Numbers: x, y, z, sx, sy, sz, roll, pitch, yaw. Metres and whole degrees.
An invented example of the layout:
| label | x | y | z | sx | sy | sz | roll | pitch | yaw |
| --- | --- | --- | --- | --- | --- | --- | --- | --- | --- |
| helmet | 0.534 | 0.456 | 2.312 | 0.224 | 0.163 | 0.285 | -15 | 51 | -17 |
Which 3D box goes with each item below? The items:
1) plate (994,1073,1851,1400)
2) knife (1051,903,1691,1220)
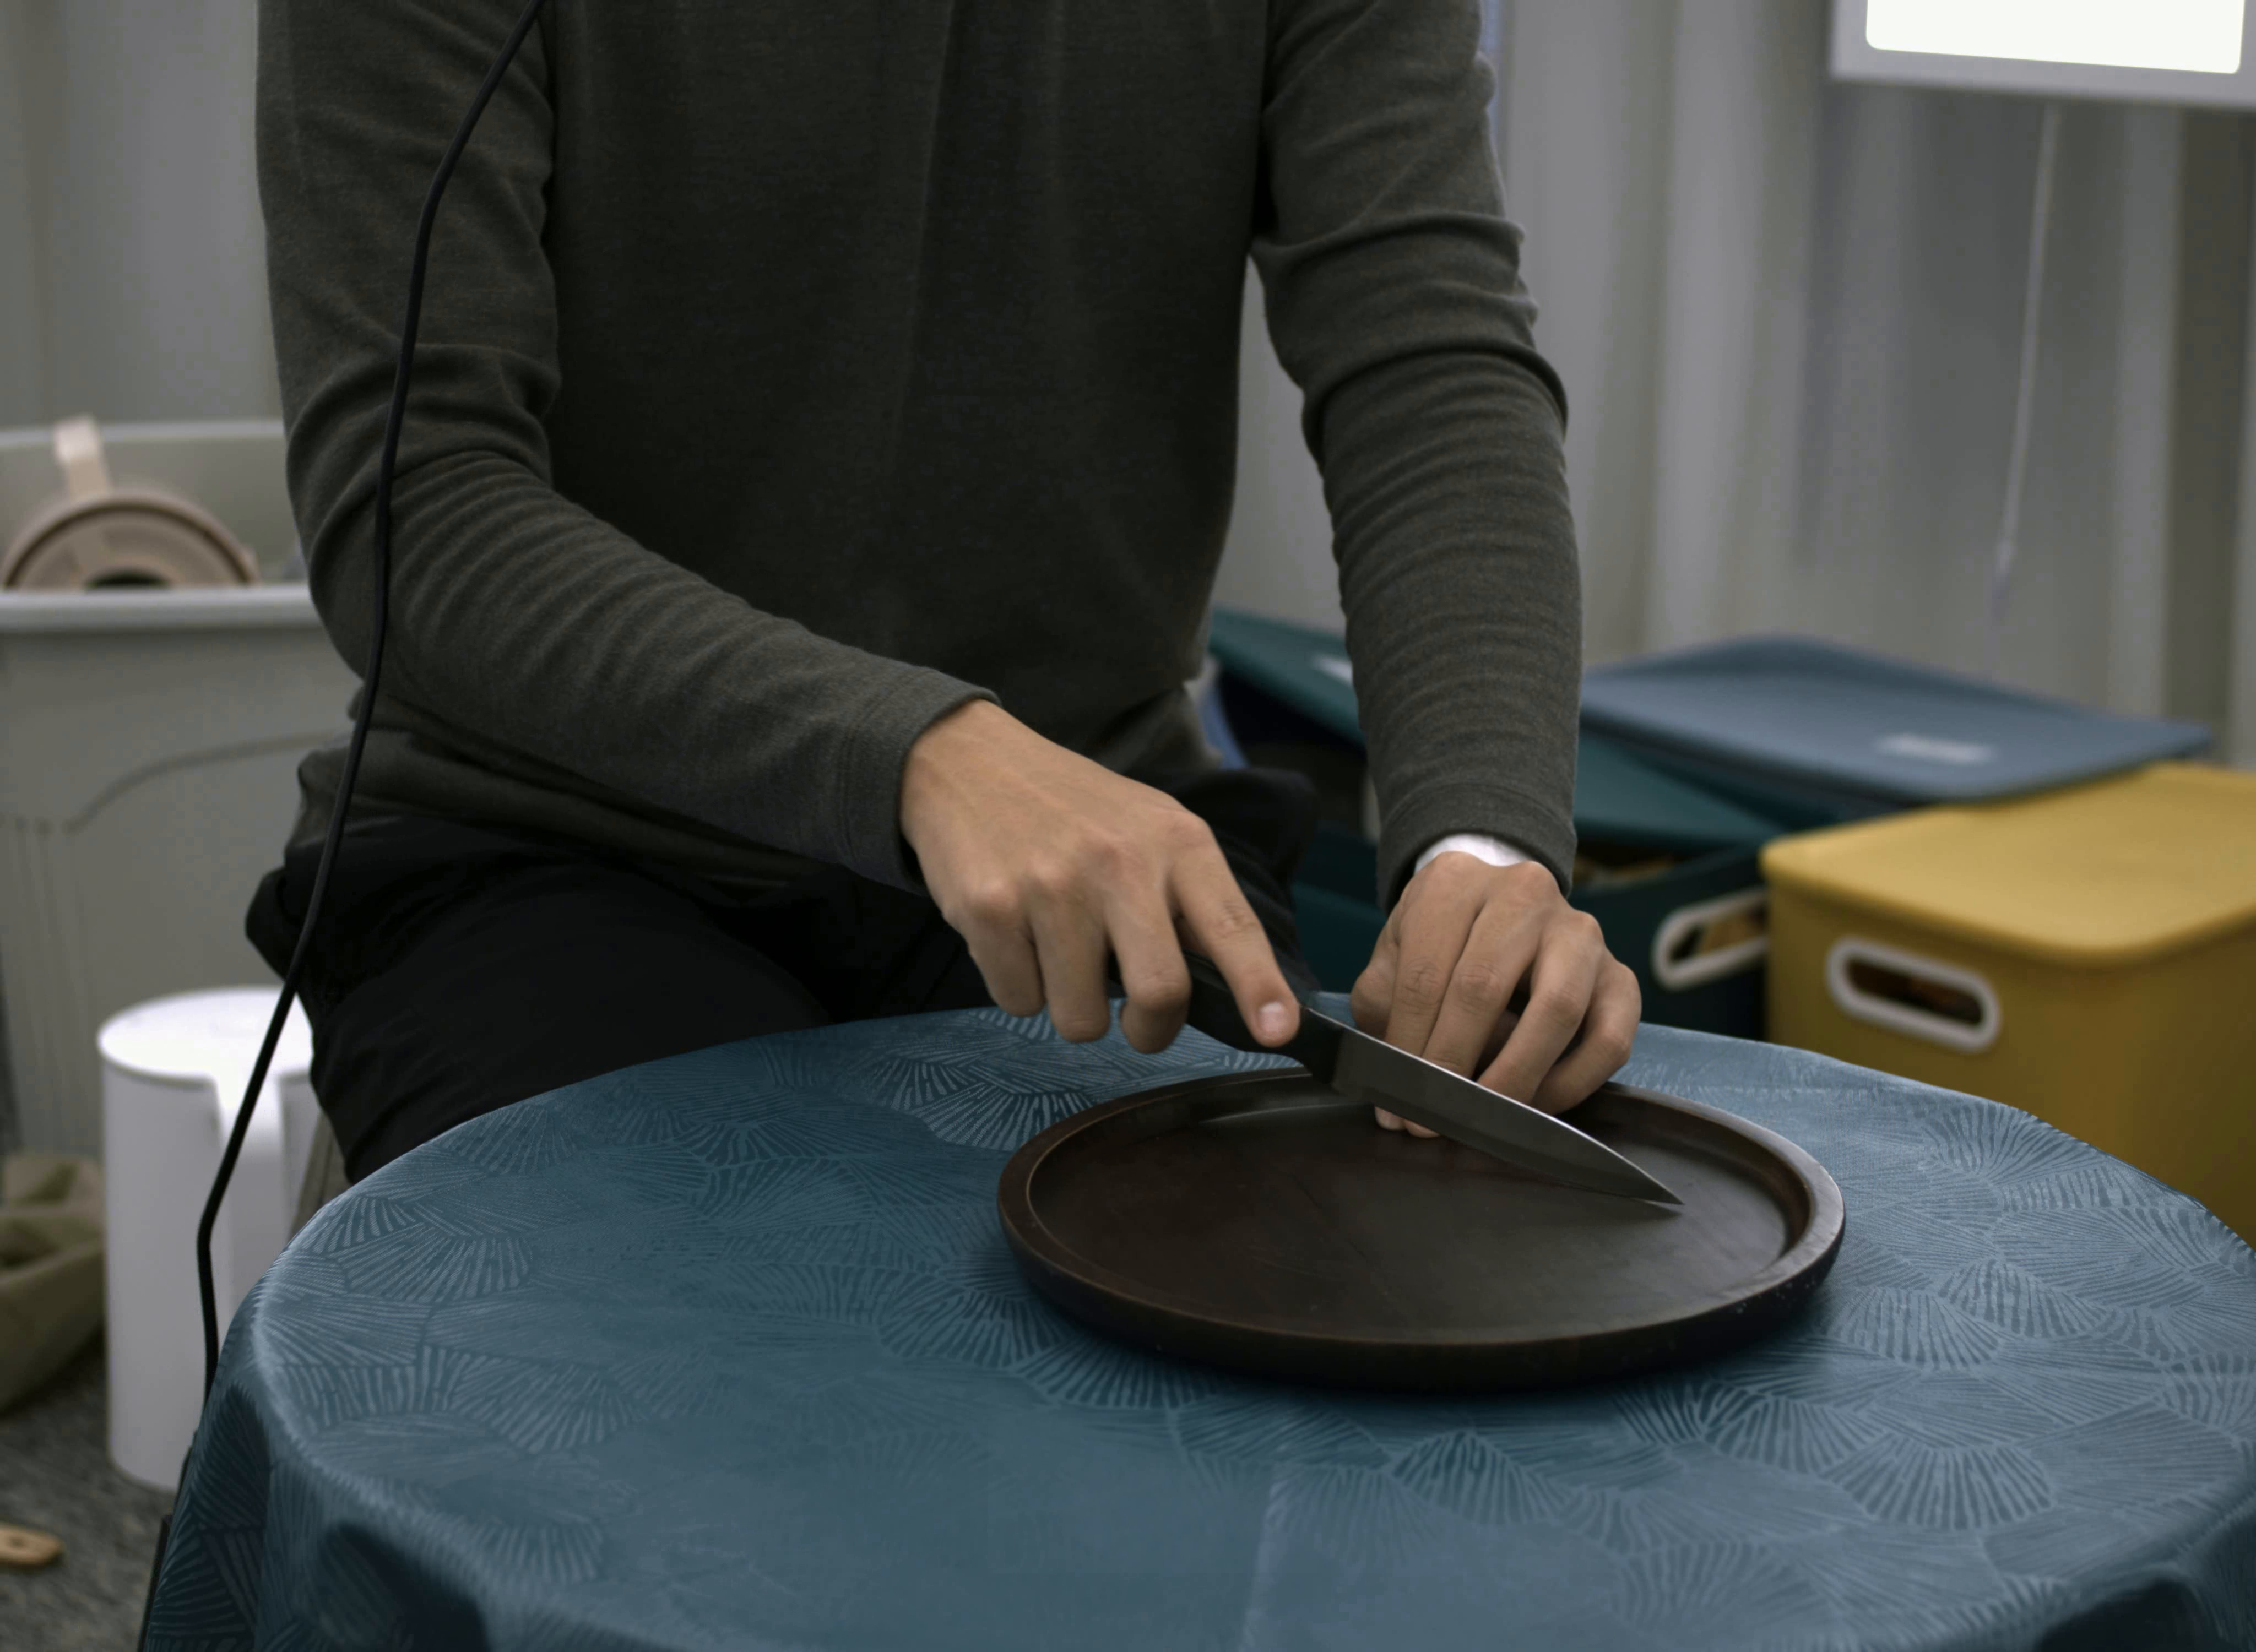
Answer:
| label | x | y | z | sx | sy | sz | roll | pitch | yaw |
| --- | --- | --- | --- | --- | --- | --- | --- | --- | --- |
| plate | 0.087 | 0.118 | 1.565 | 0.254 | 0.029 | 0.253 | 2 | 16 | 0 |
| knife | 0.074 | 0.072 | 1.628 | 0.235 | 0.024 | 0.016 | 24 | 17 | 28 |
